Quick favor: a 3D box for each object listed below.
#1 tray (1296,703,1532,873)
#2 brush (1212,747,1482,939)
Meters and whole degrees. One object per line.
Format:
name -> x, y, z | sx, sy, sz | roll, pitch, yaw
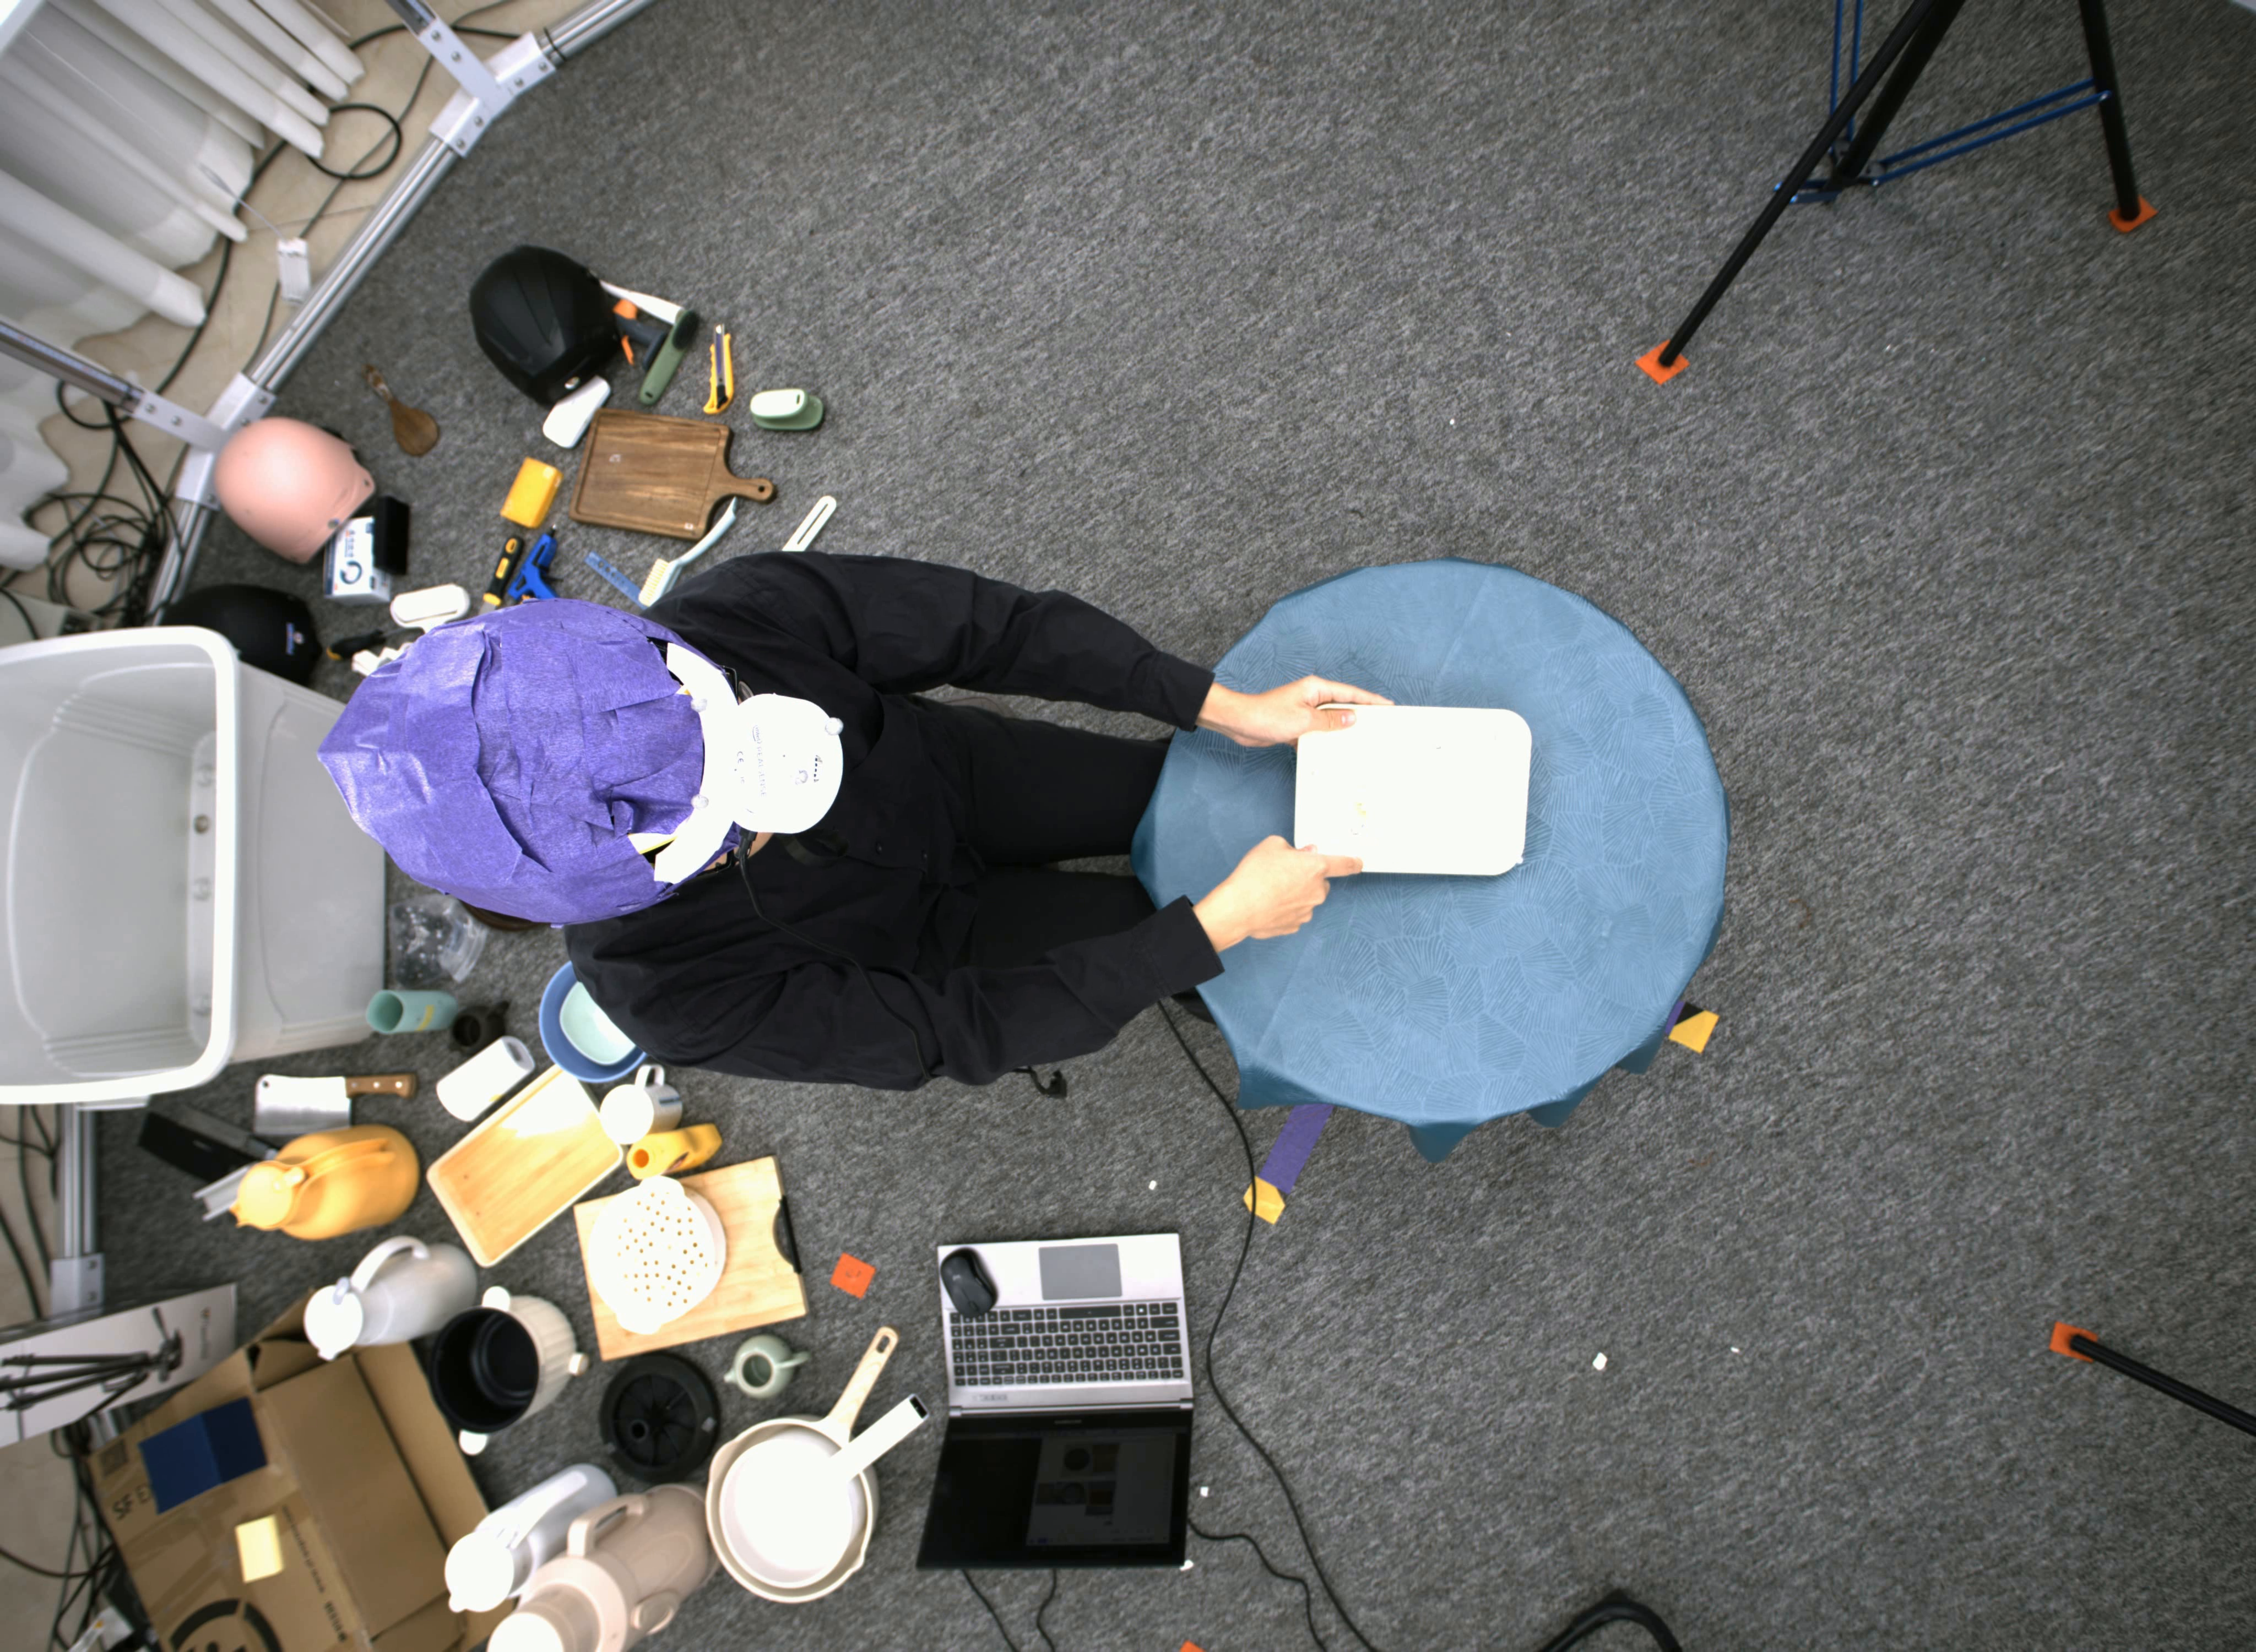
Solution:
tray -> 0.291, -0.040, 1.404 | 0.240, 0.017, 0.172 | 1, 100, -1
brush -> 0.209, 0.012, 1.374 | 0.324, 0.086, 0.082 | -33, 61, -8
